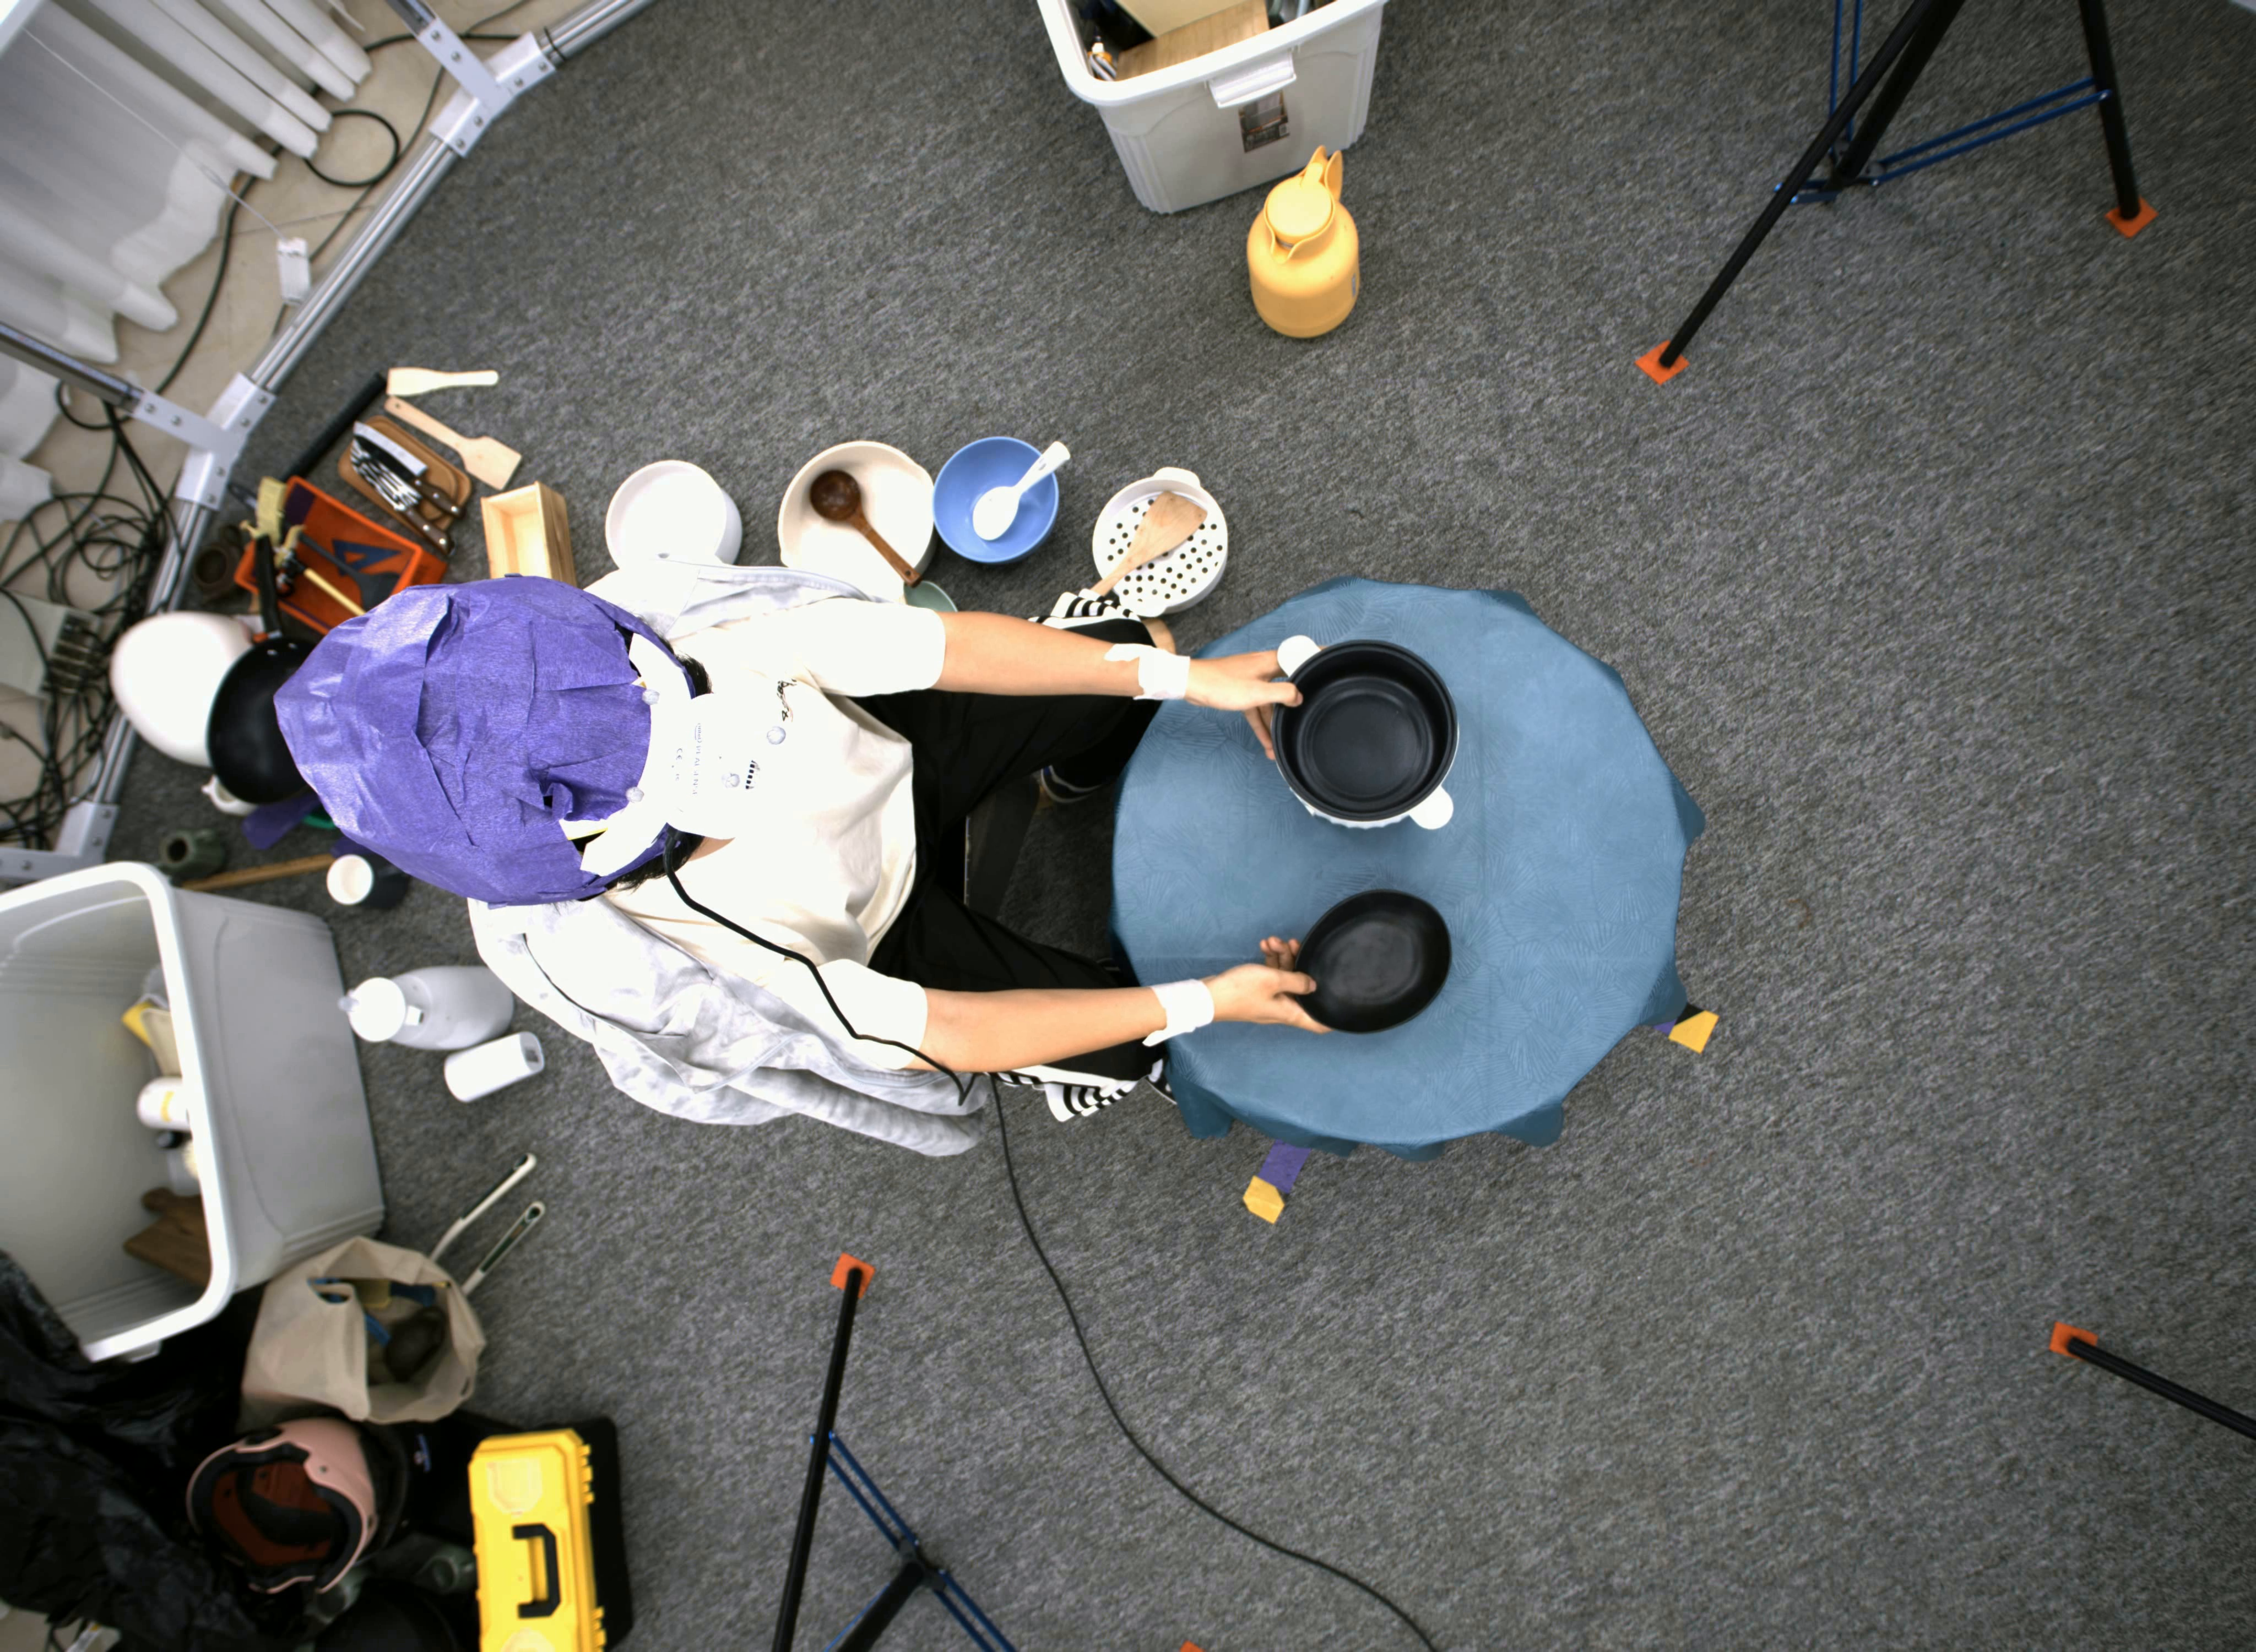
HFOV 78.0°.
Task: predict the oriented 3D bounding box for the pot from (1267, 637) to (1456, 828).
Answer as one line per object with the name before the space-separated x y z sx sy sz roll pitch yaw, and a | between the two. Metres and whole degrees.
pot | 0.242 -0.093 1.402 0.192 0.142 0.239 -42 81 8

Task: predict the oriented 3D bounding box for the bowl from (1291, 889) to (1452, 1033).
bowl | 0.251 0.140 1.425 0.171 0.067 0.136 -33 79 7
